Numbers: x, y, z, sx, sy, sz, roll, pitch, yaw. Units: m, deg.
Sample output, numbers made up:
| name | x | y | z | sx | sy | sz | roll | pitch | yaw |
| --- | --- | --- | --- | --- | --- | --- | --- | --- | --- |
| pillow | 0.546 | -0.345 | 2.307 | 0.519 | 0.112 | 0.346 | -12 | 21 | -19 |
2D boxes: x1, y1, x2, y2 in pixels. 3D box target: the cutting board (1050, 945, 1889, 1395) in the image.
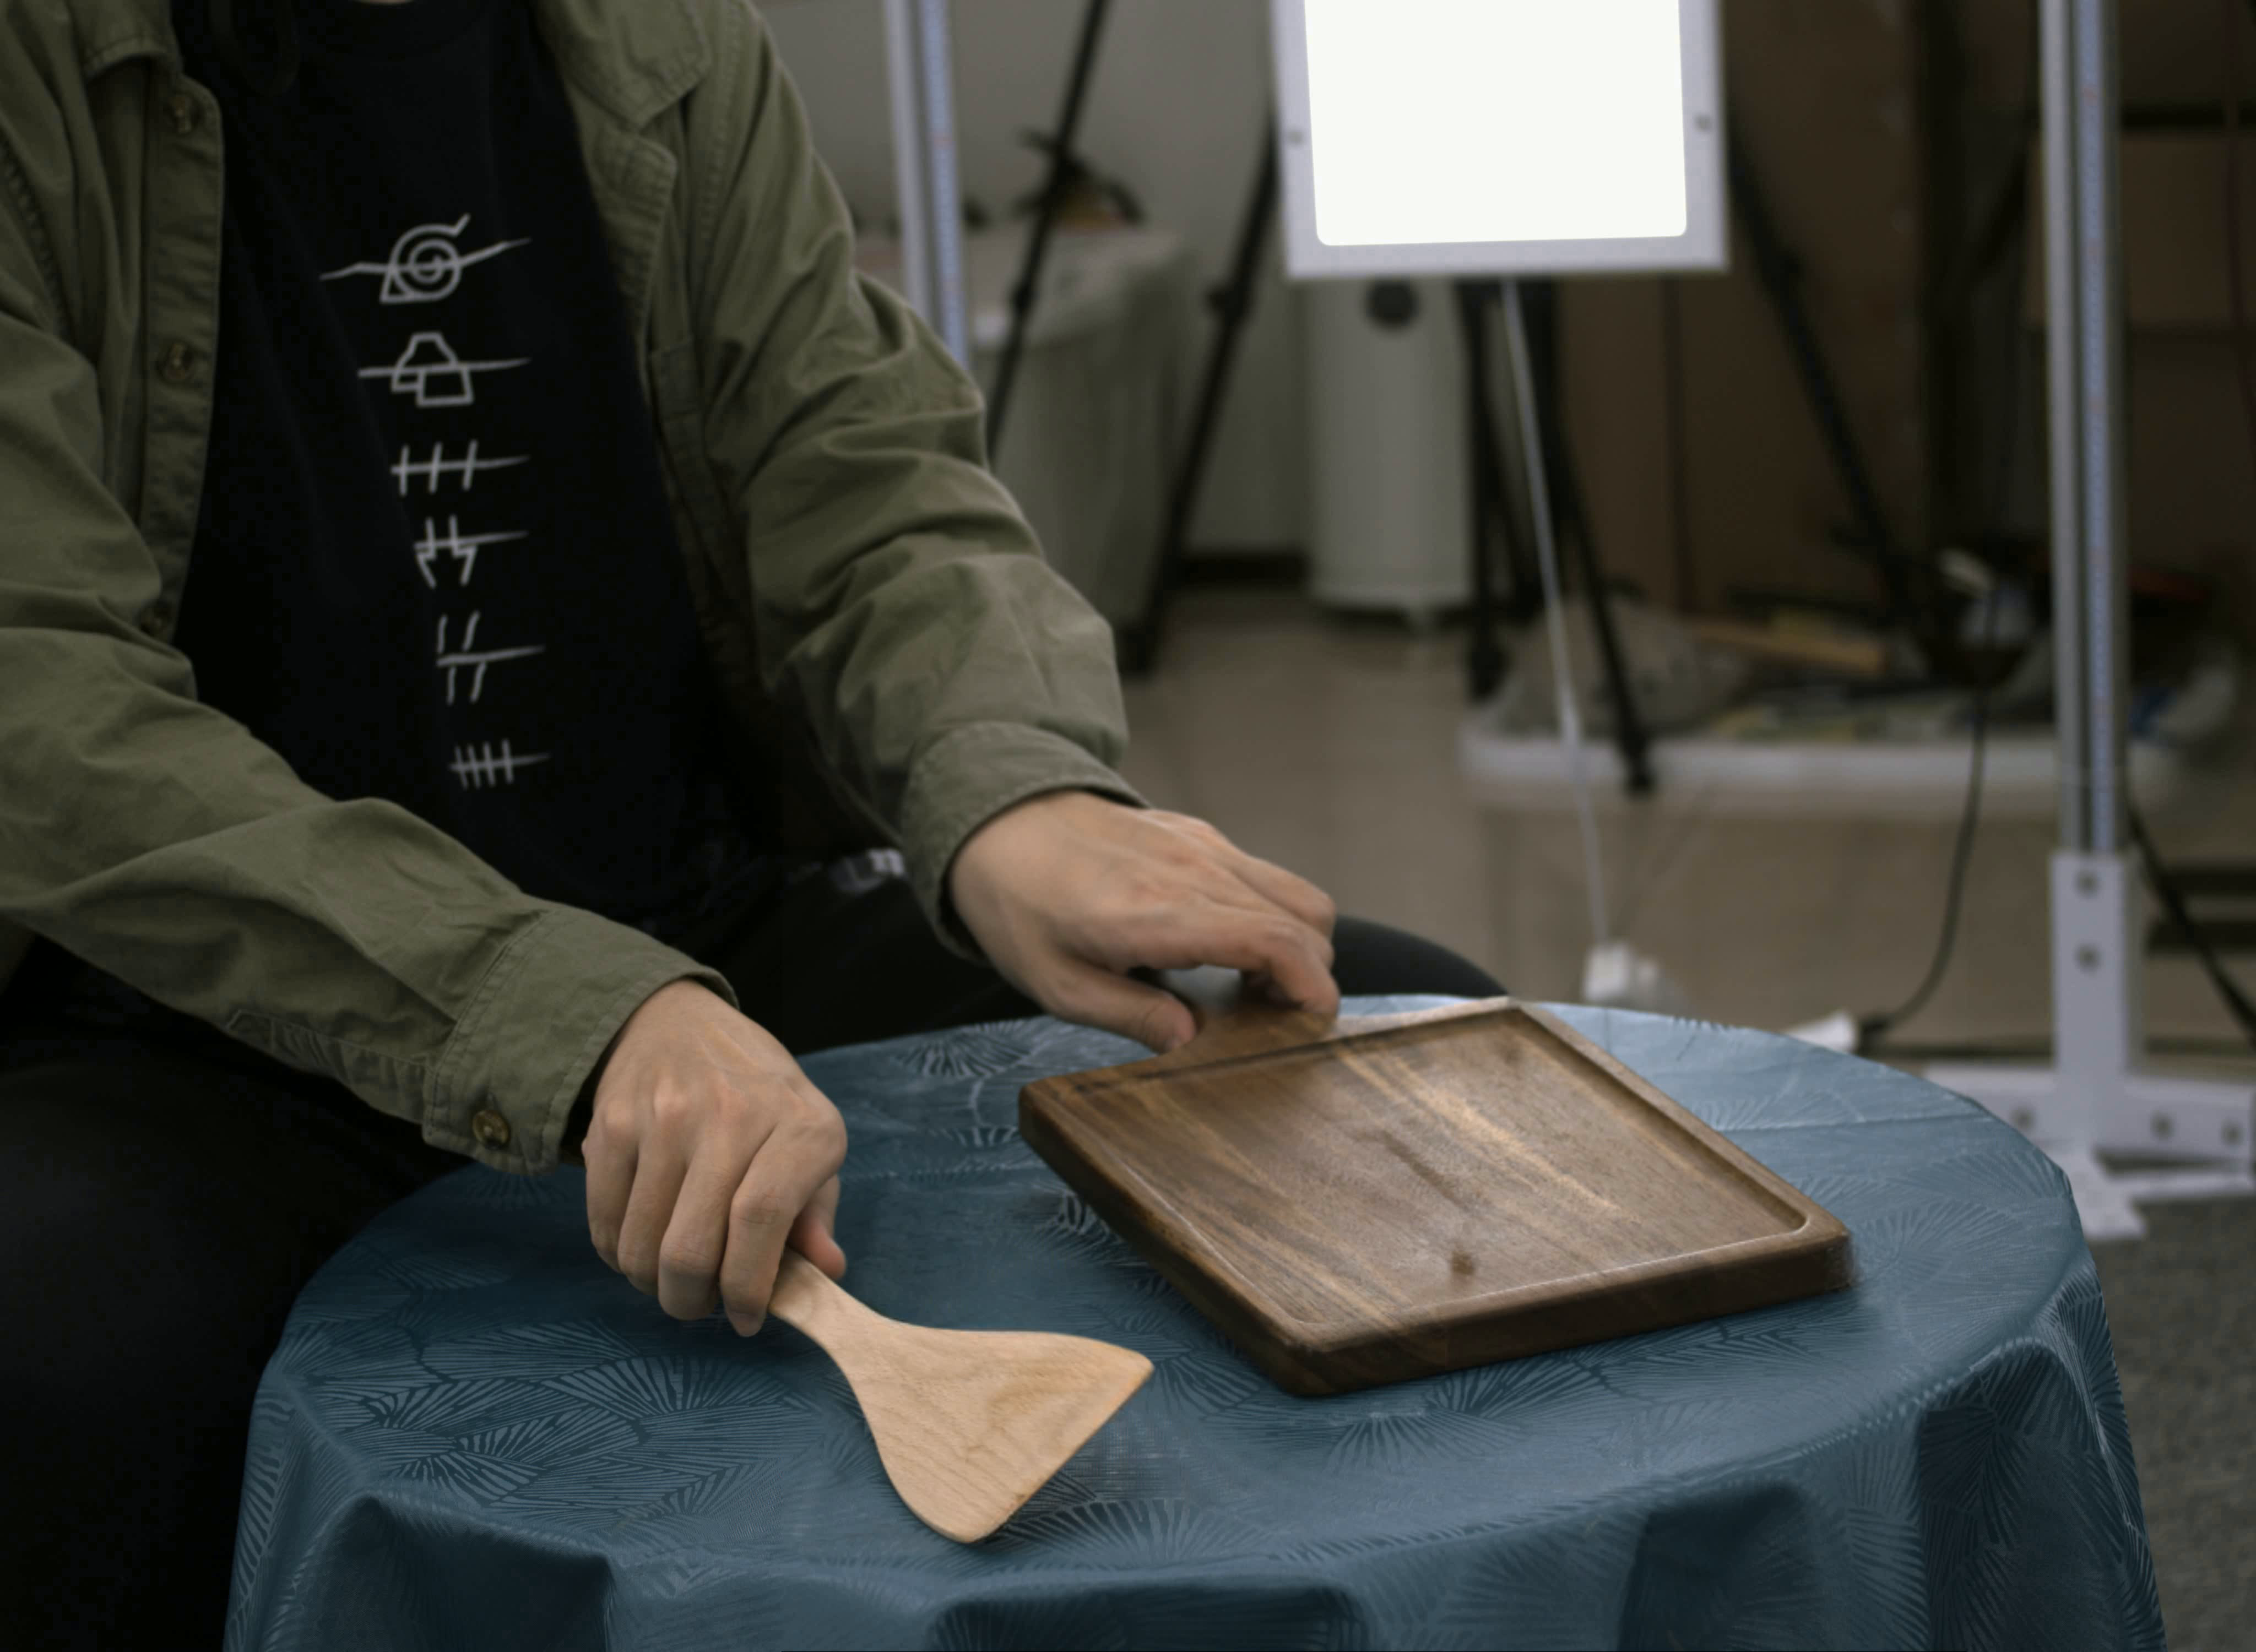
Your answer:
| name | x | y | z | sx | sy | sz | roll | pitch | yaw |
| --- | --- | --- | --- | --- | --- | --- | --- | --- | --- |
| cutting board | 0.090 | 0.102 | 1.853 | 0.198 | 0.023 | 0.356 | -9 | 19 | -18 |

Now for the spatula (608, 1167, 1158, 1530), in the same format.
| name | x | y | z | sx | sy | sz | roll | pitch | yaw |
| --- | --- | --- | --- | --- | --- | --- | --- | --- | --- |
| spatula | -0.090 | 0.151 | 1.724 | 0.079 | 0.016 | 0.333 | -39 | 27 | -16 |
